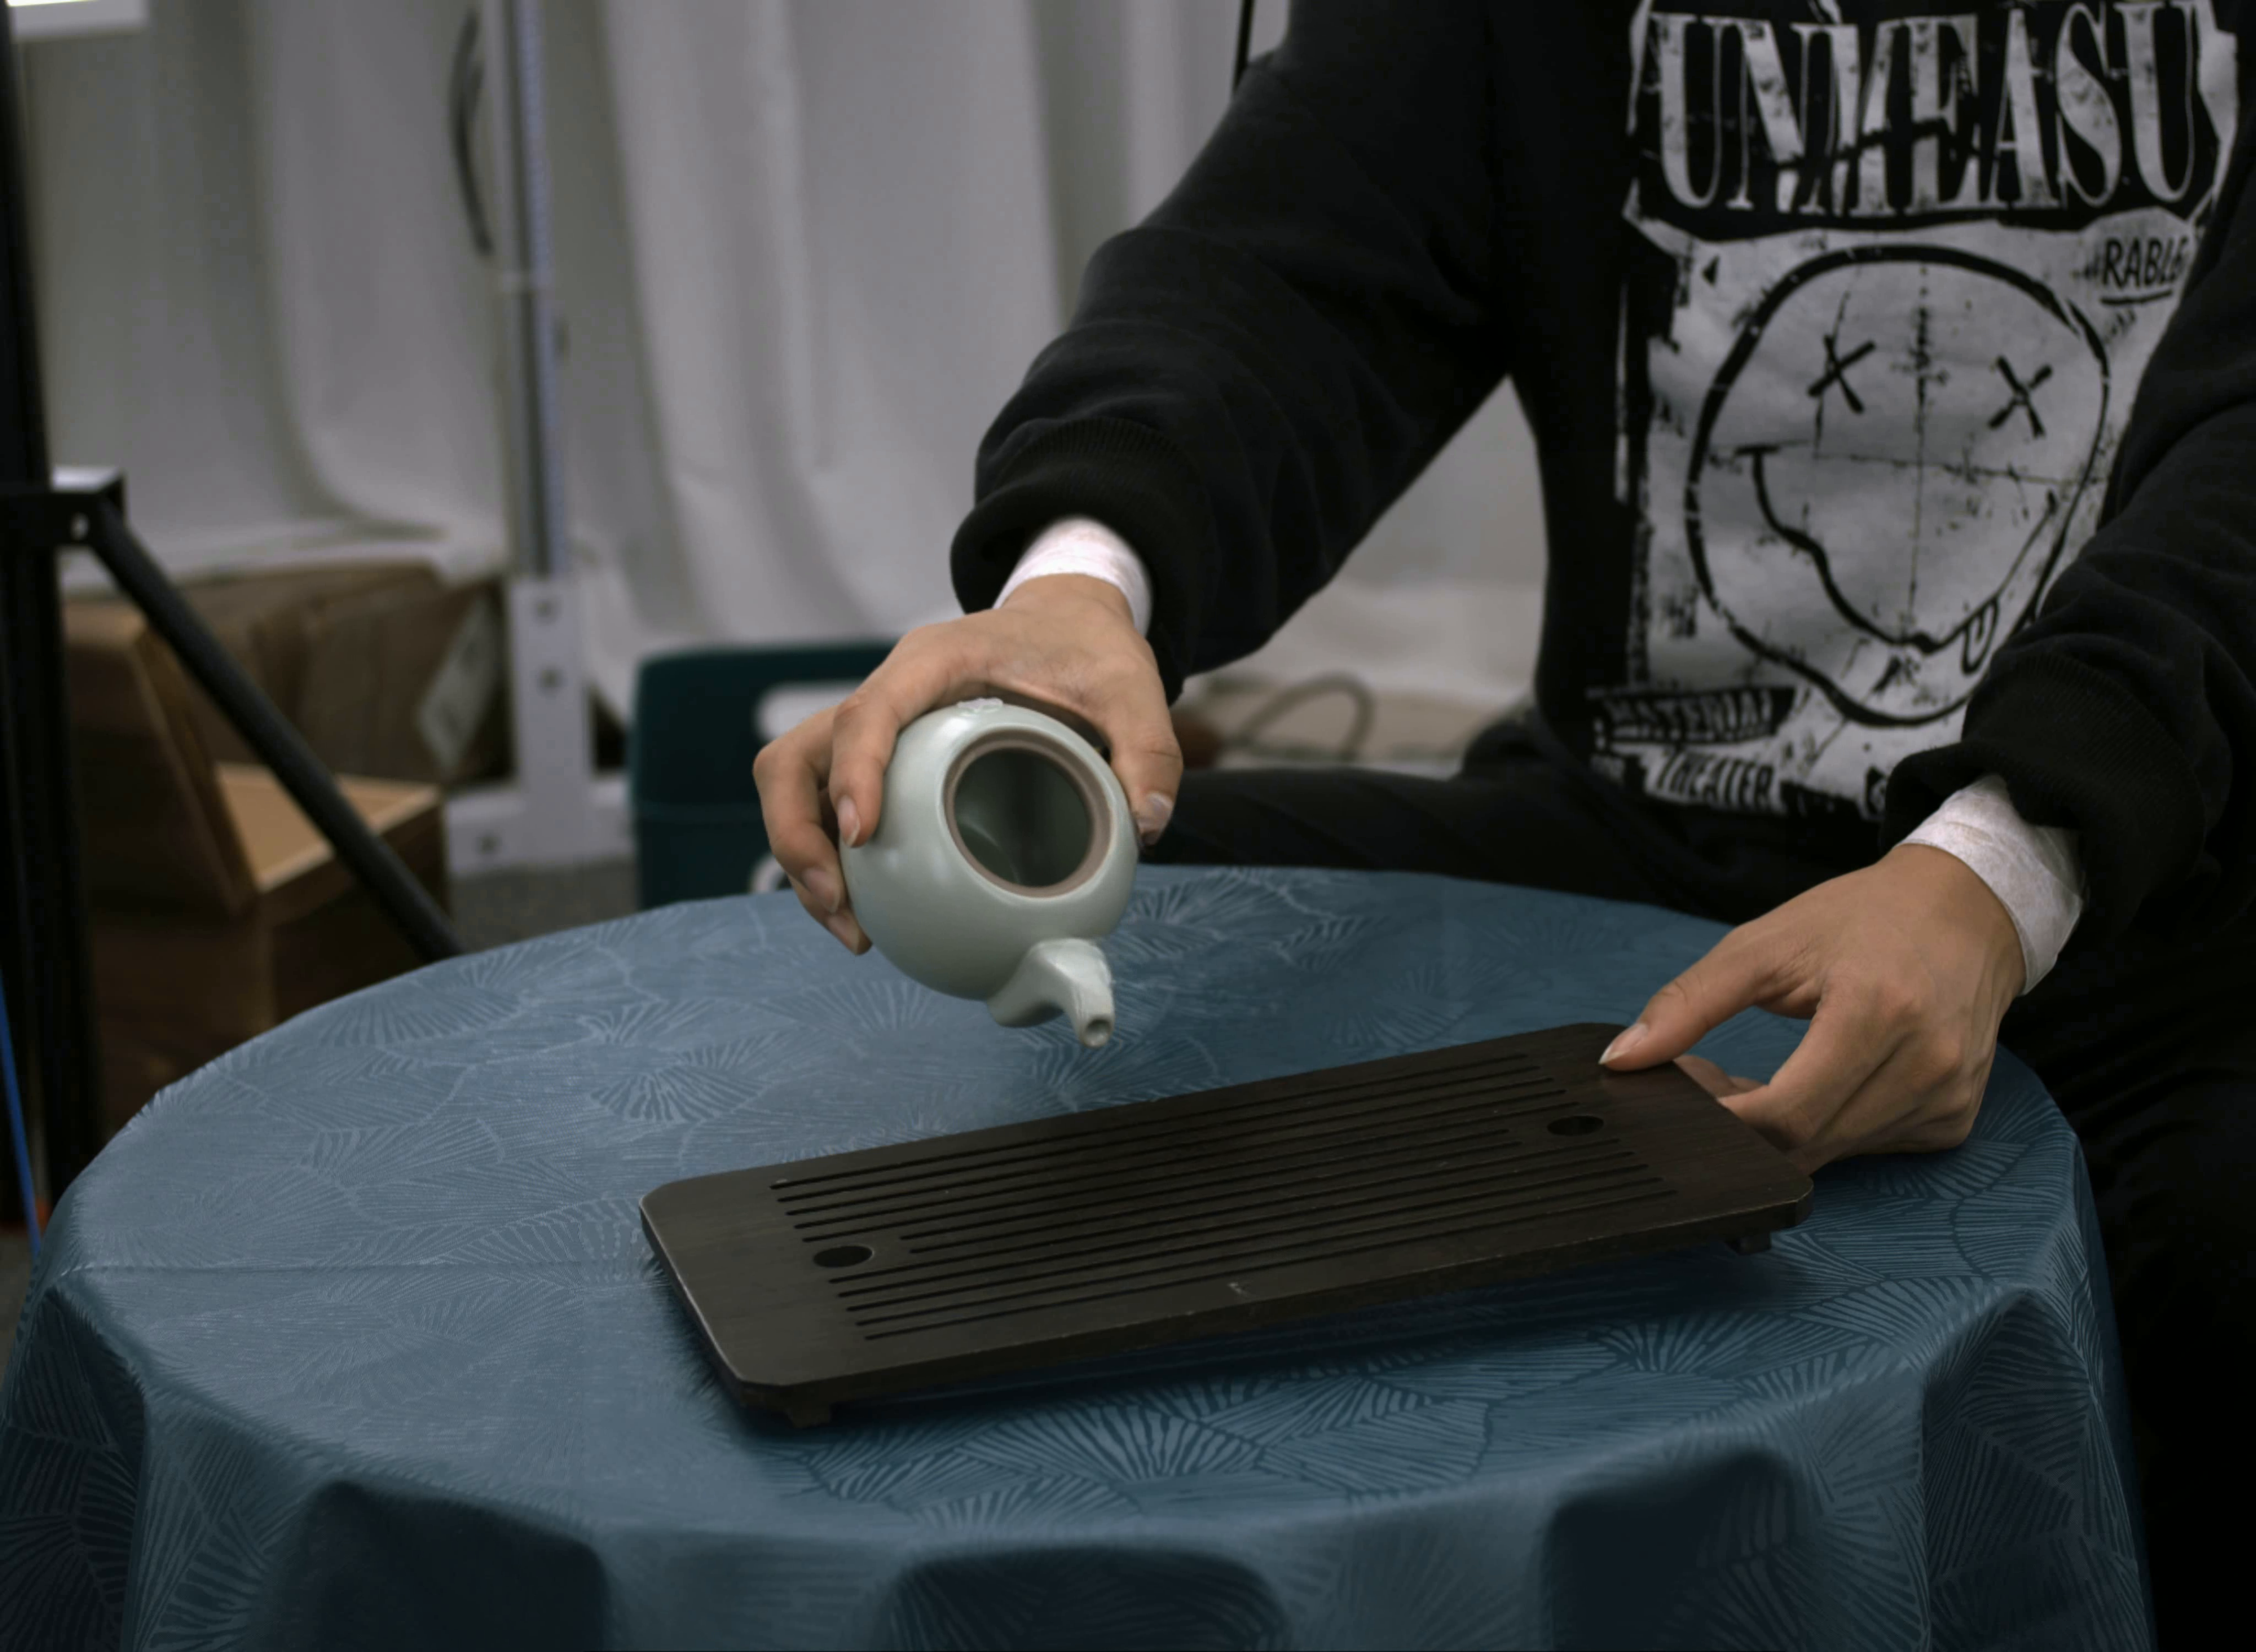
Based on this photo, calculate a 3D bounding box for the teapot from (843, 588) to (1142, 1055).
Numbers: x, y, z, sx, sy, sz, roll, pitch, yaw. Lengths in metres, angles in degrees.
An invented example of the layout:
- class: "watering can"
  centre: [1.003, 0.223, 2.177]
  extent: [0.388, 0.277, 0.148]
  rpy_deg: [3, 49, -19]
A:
- class: "teapot"
  centre: [-0.039, 0.007, 1.552]
  extent: [0.086, 0.145, 0.075]
  rpy_deg: [-6, -16, -27]

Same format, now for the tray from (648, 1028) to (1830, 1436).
- class: "tray"
  centre: [0.028, 0.111, 1.480]
  extent: [0.302, 0.018, 0.172]
  rpy_deg: [-9, 17, -11]
